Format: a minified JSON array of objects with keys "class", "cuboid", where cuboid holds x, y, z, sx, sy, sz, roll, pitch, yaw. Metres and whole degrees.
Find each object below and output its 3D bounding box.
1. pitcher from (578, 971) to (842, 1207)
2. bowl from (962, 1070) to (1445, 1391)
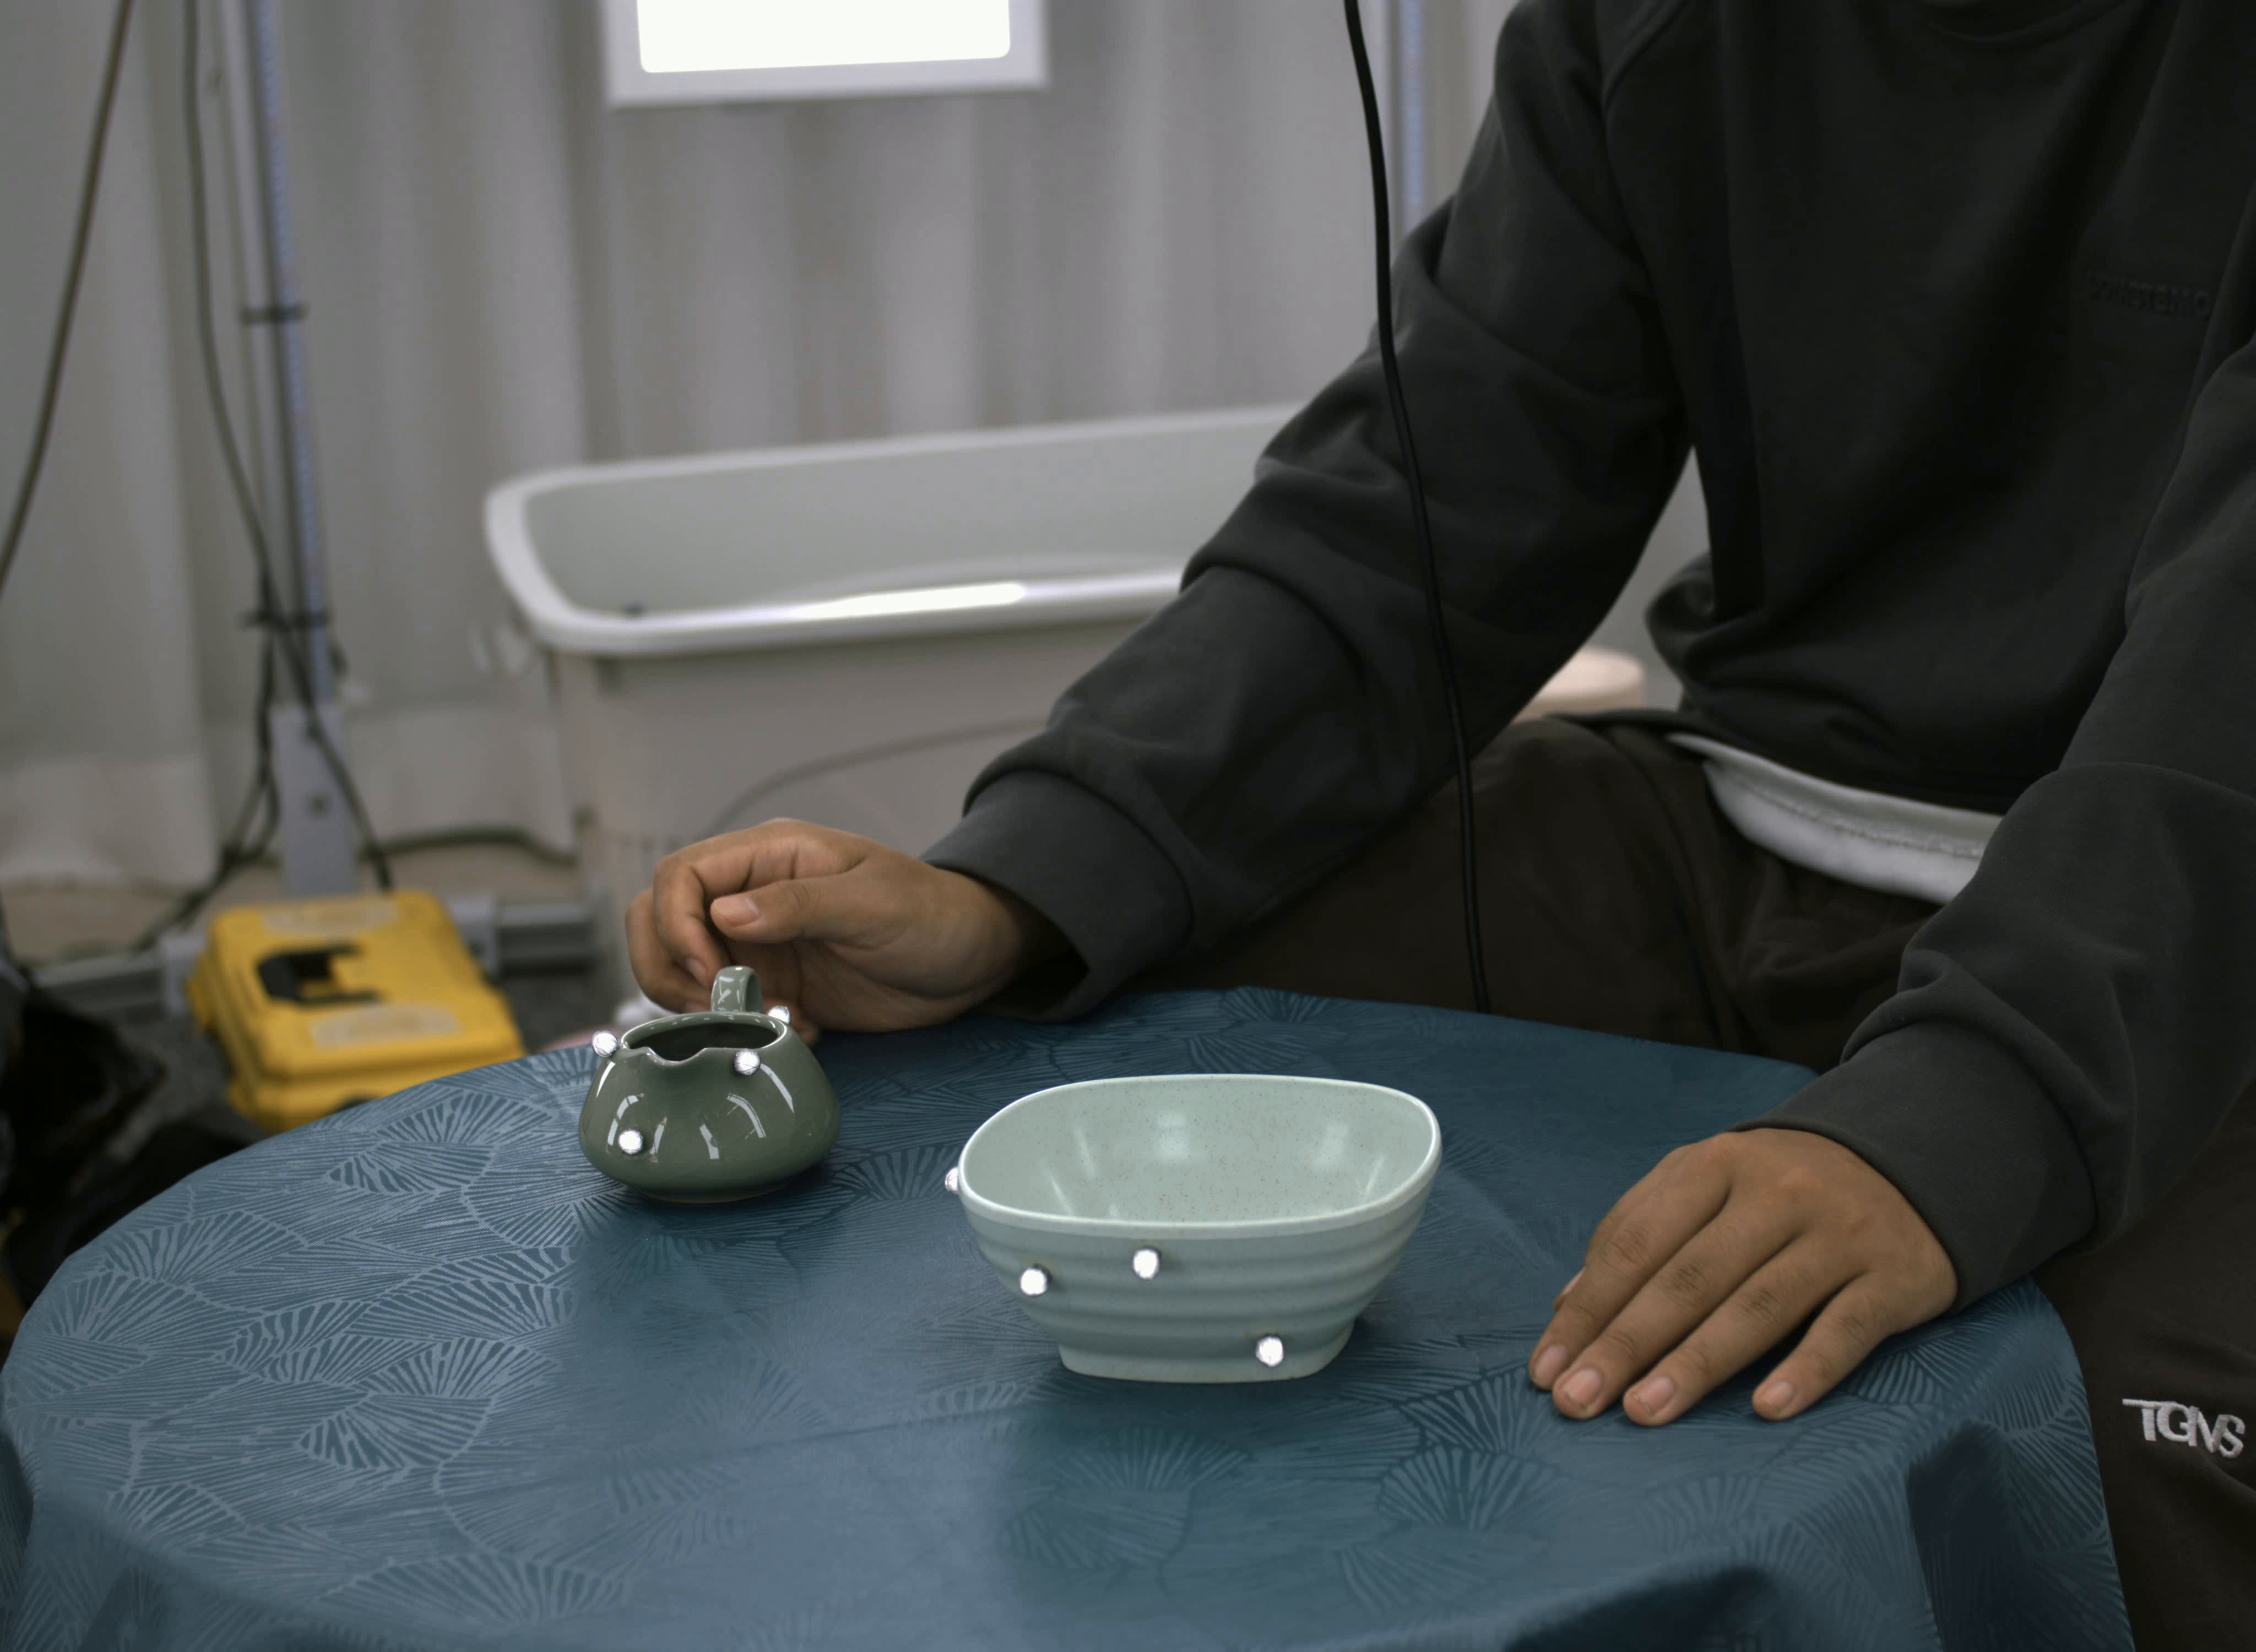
[{"class":"pitcher","cuboid":[-0.133,0.085,1.748,0.084,0.056,0.113,0,14,6]},{"class":"bowl","cuboid":[0.023,0.121,1.584,0.151,0.058,0.152,-3,16,1]}]
